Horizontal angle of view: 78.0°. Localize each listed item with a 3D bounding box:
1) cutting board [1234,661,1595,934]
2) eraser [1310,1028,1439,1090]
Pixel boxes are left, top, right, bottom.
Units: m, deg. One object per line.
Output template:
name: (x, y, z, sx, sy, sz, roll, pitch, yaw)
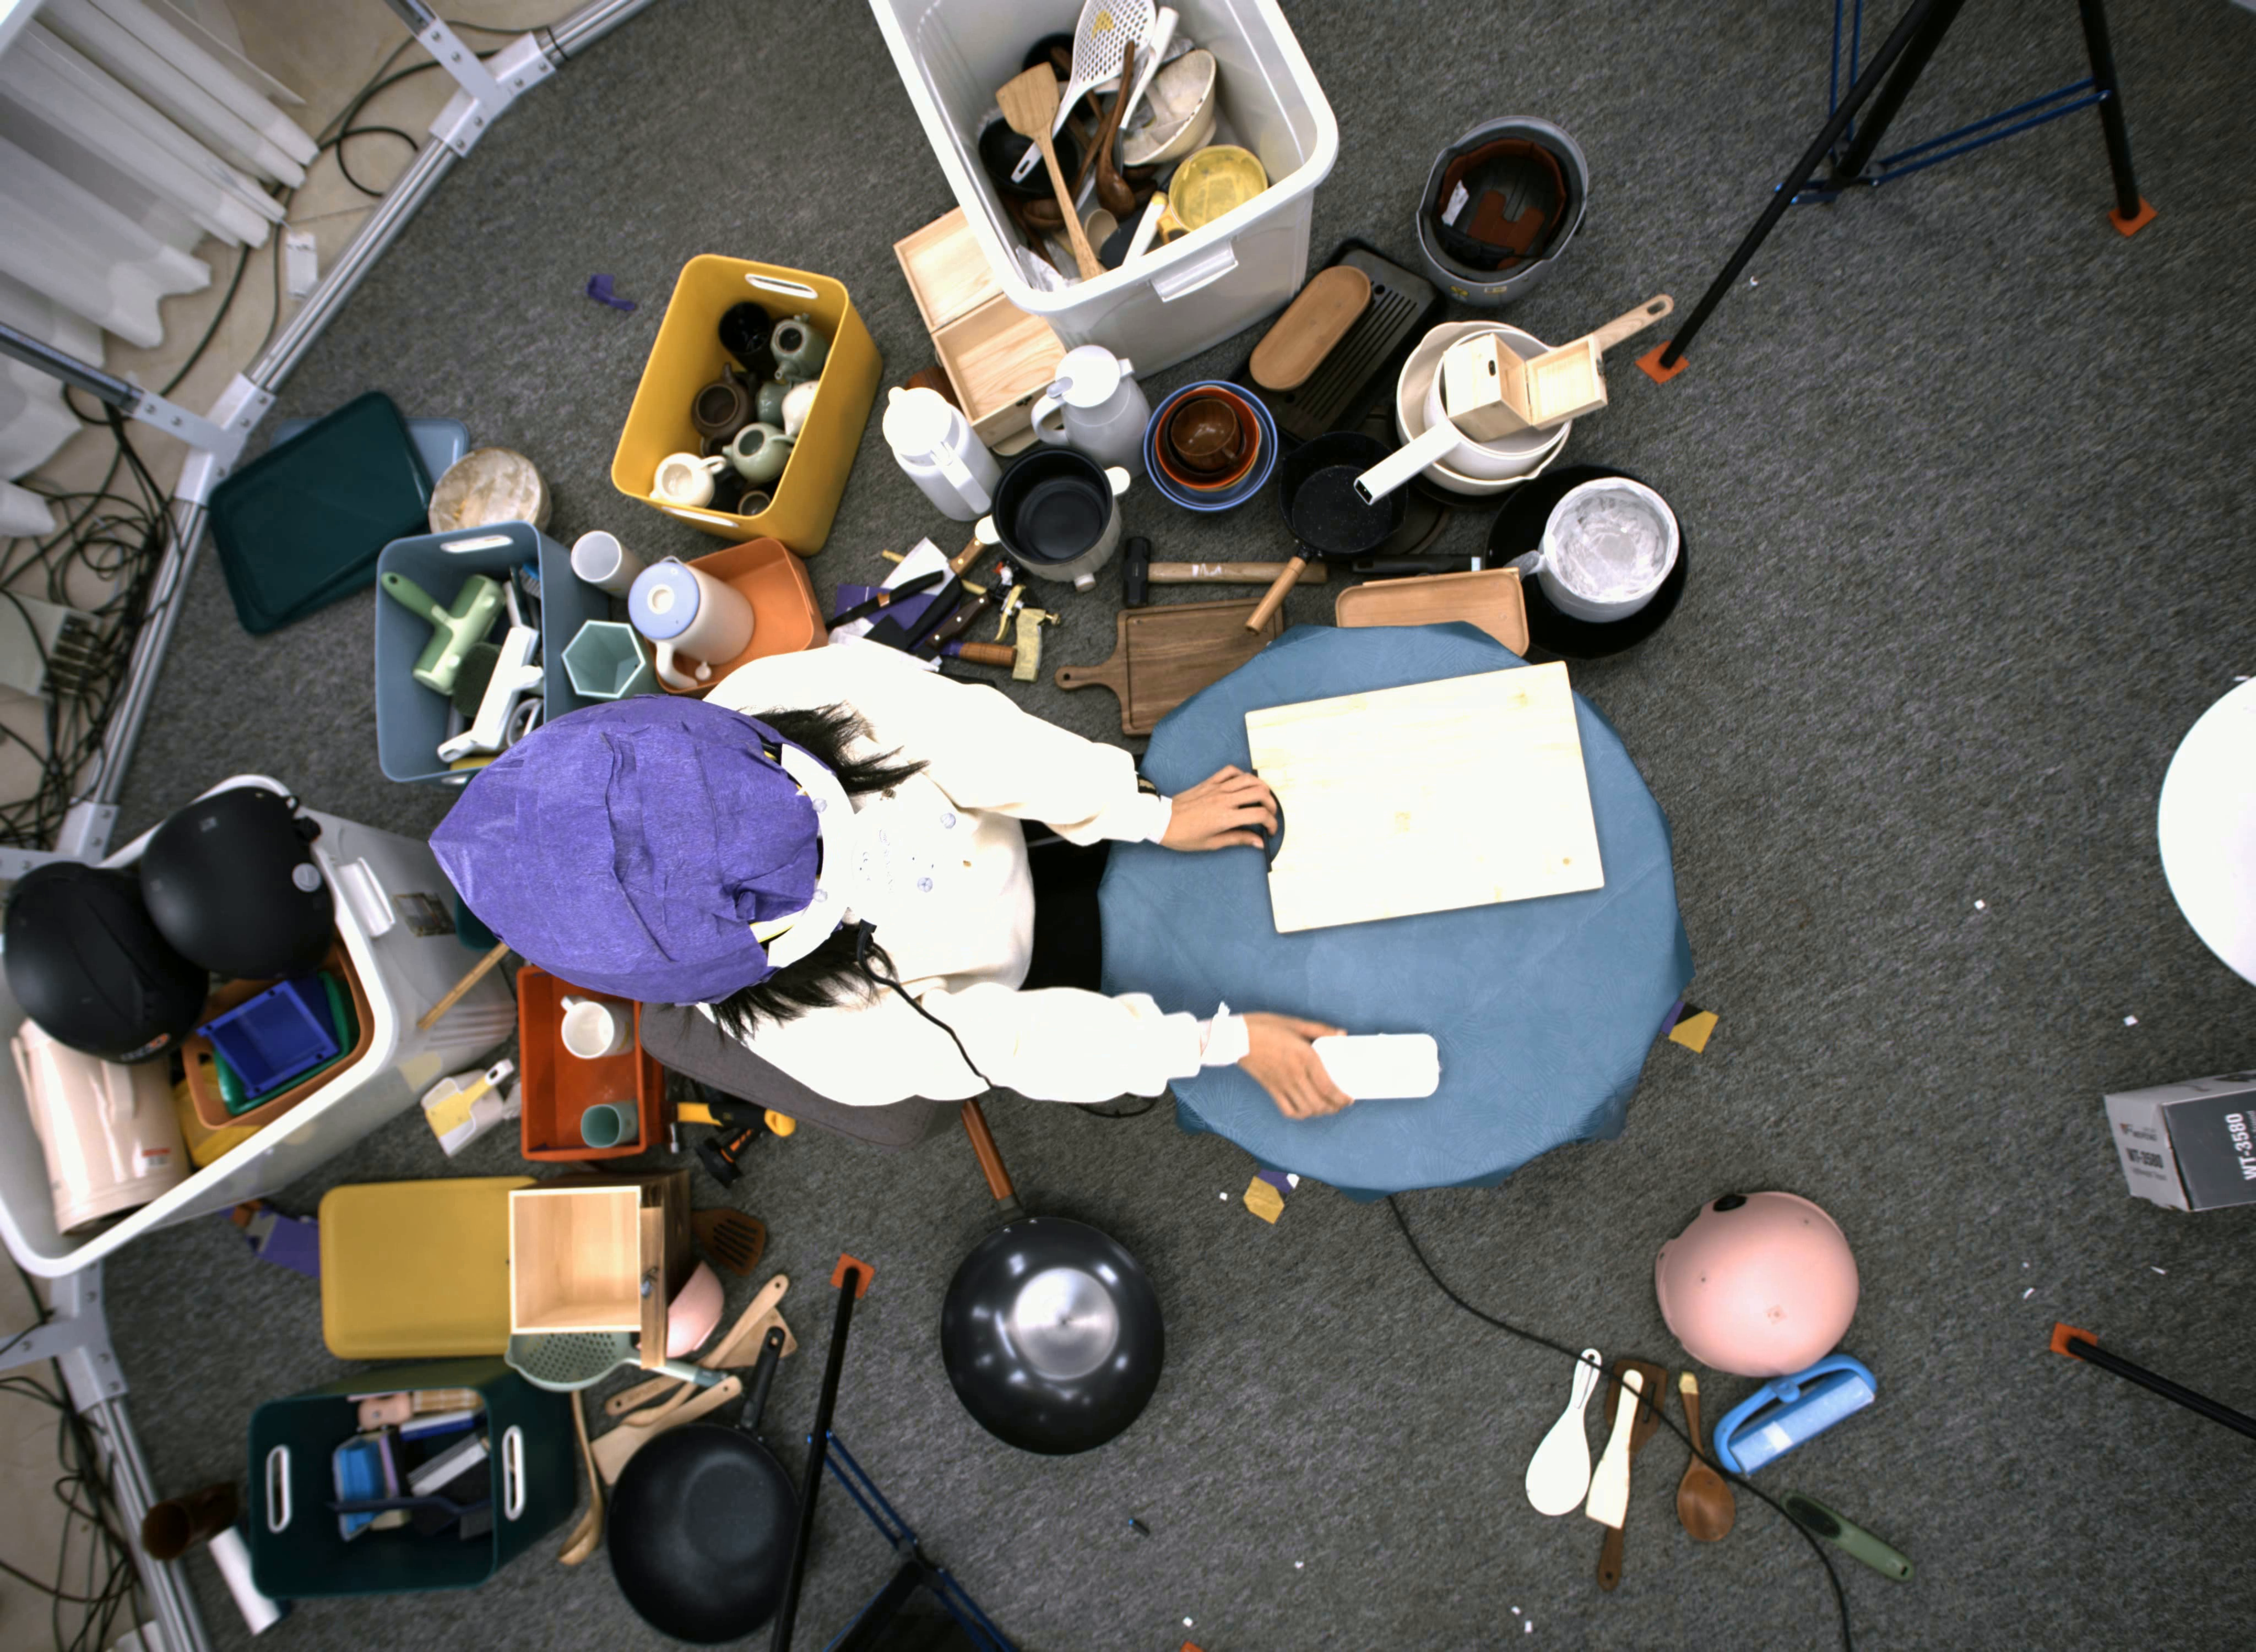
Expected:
cutting board: (0.301, -0.030, 1.452, 0.350, 0.023, 0.249, -10, 85, 10)
eraser: (0.254, 0.239, 1.431, 0.131, 0.034, 0.063, -1, 84, 5)
